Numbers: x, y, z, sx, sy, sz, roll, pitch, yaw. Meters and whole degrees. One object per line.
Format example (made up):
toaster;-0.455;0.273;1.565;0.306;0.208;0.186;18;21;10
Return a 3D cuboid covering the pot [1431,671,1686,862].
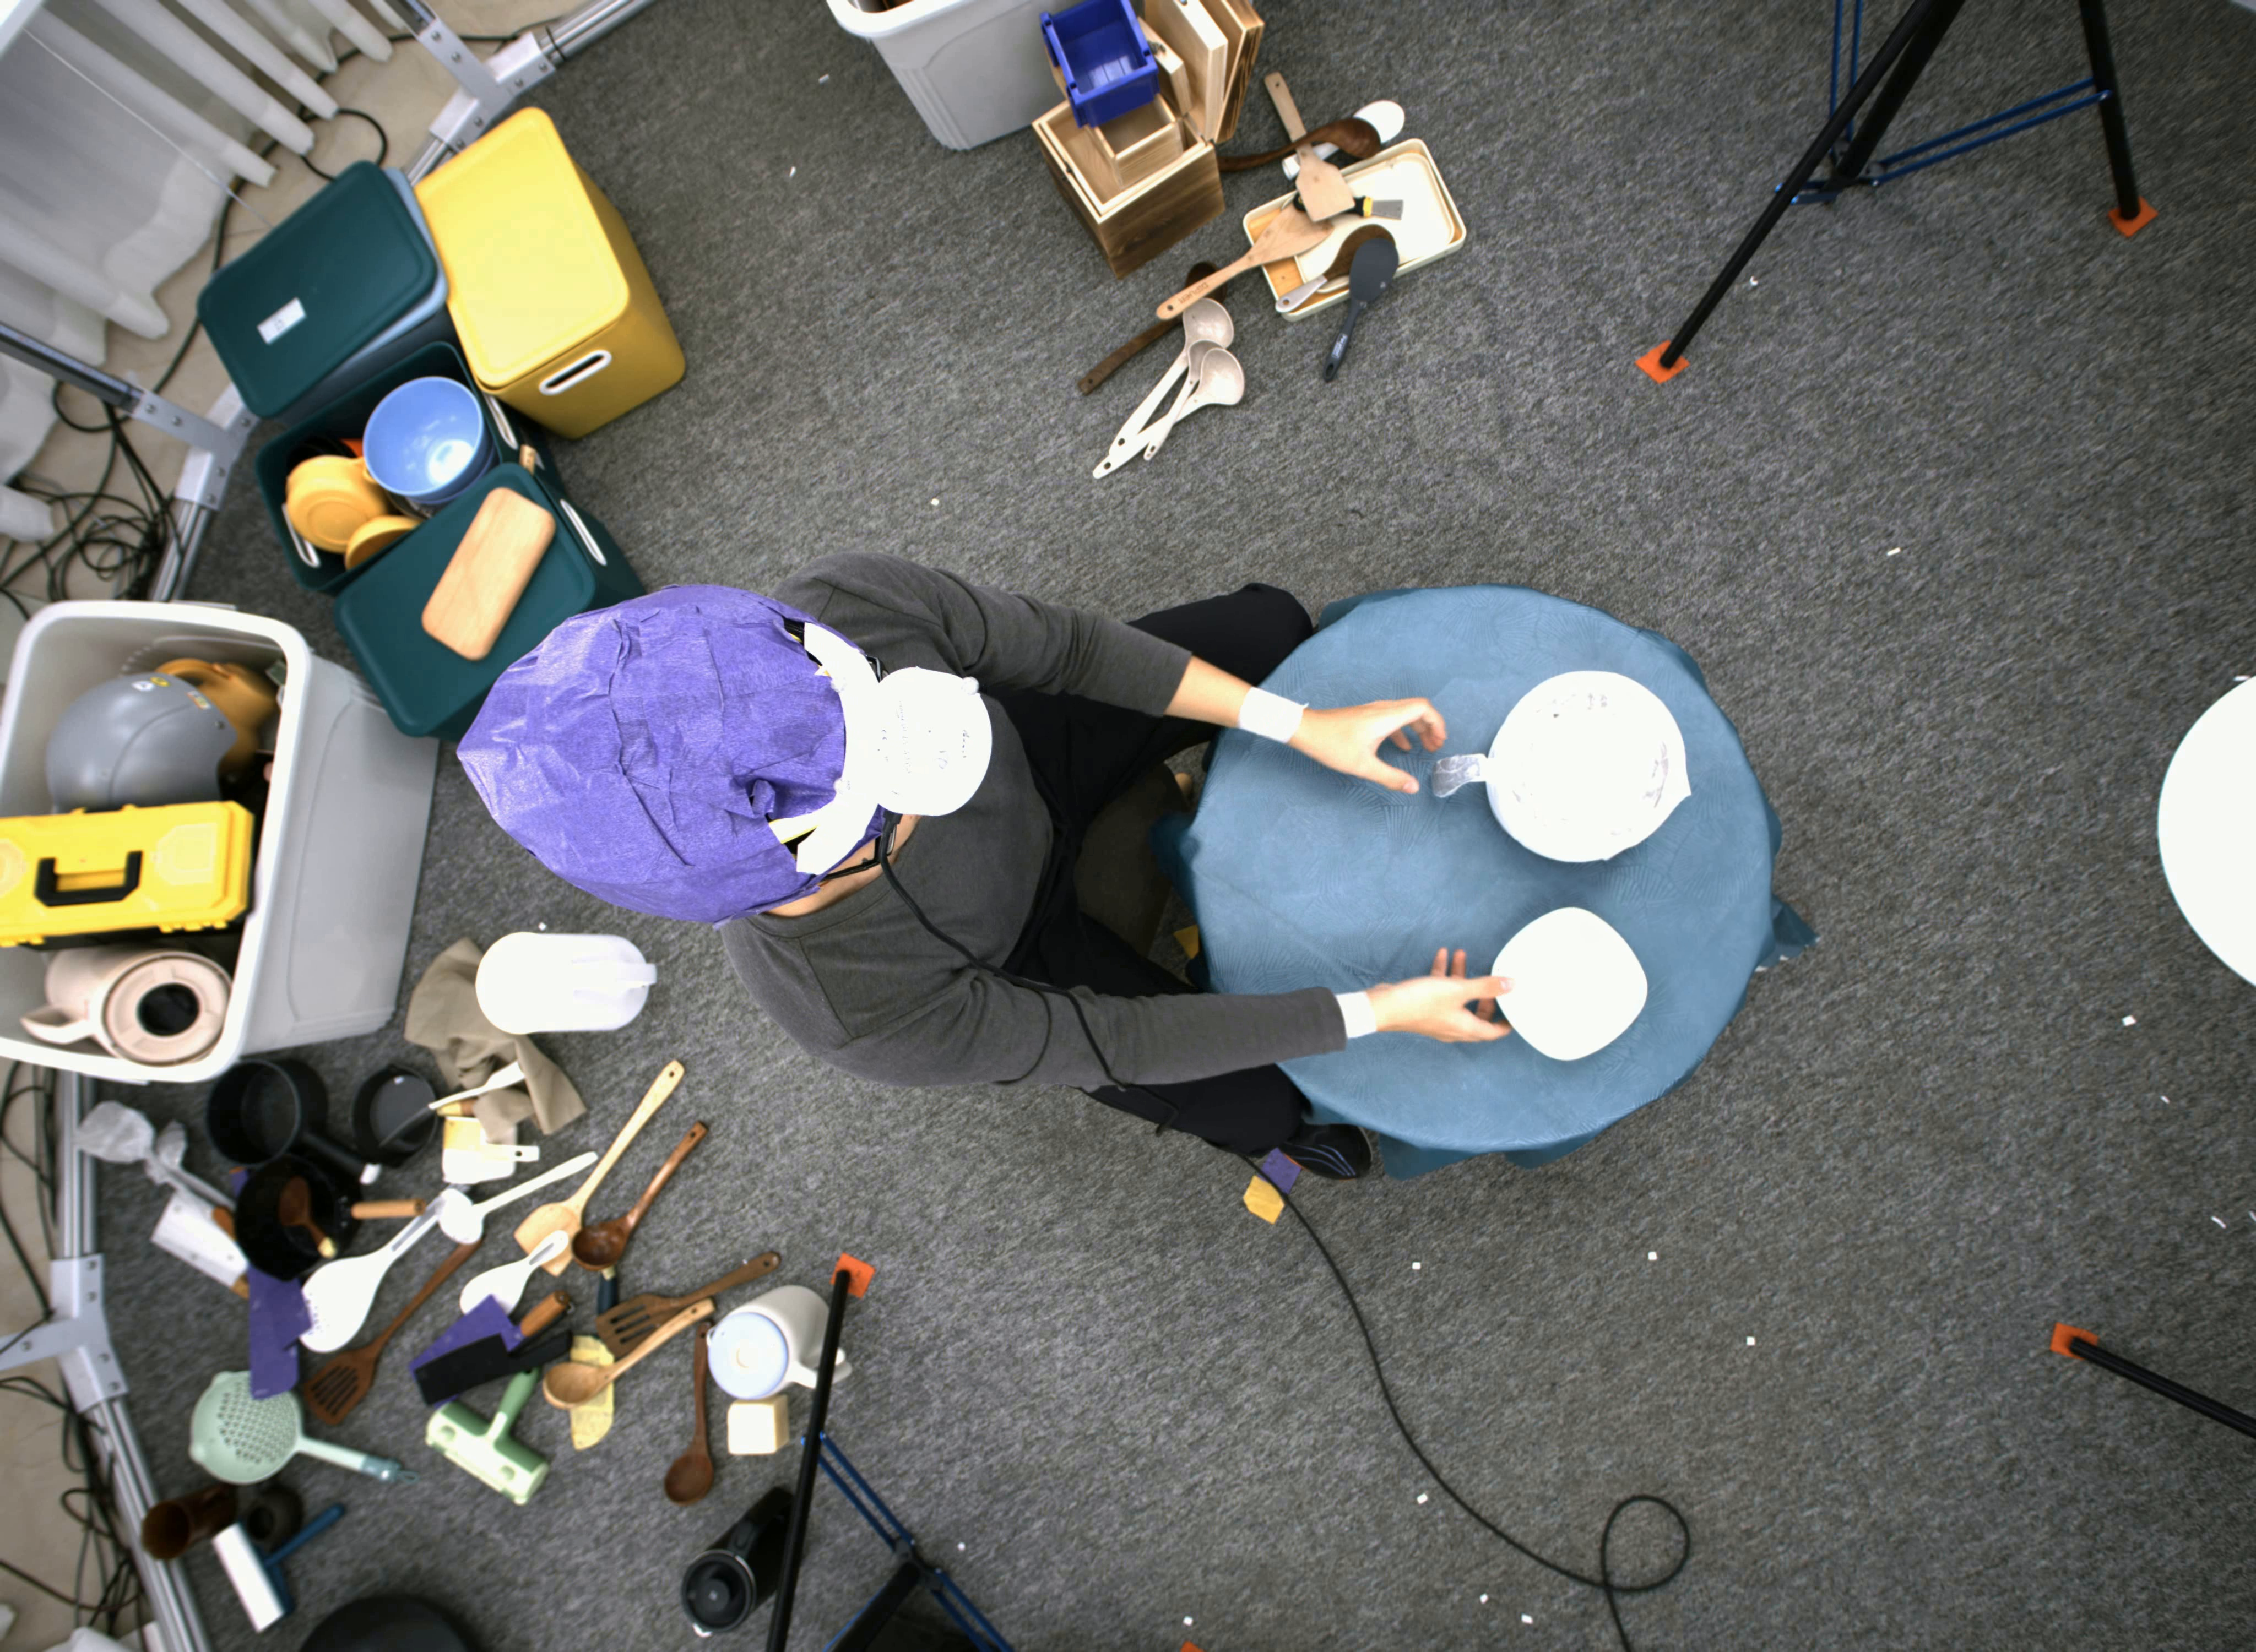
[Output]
pot;0.424;-0.056;1.370;0.235;0.136;0.178;-2;86;11

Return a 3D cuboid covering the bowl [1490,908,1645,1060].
bowl;0.441;0.157;1.394;0.152;0.059;0.150;-1;86;9
